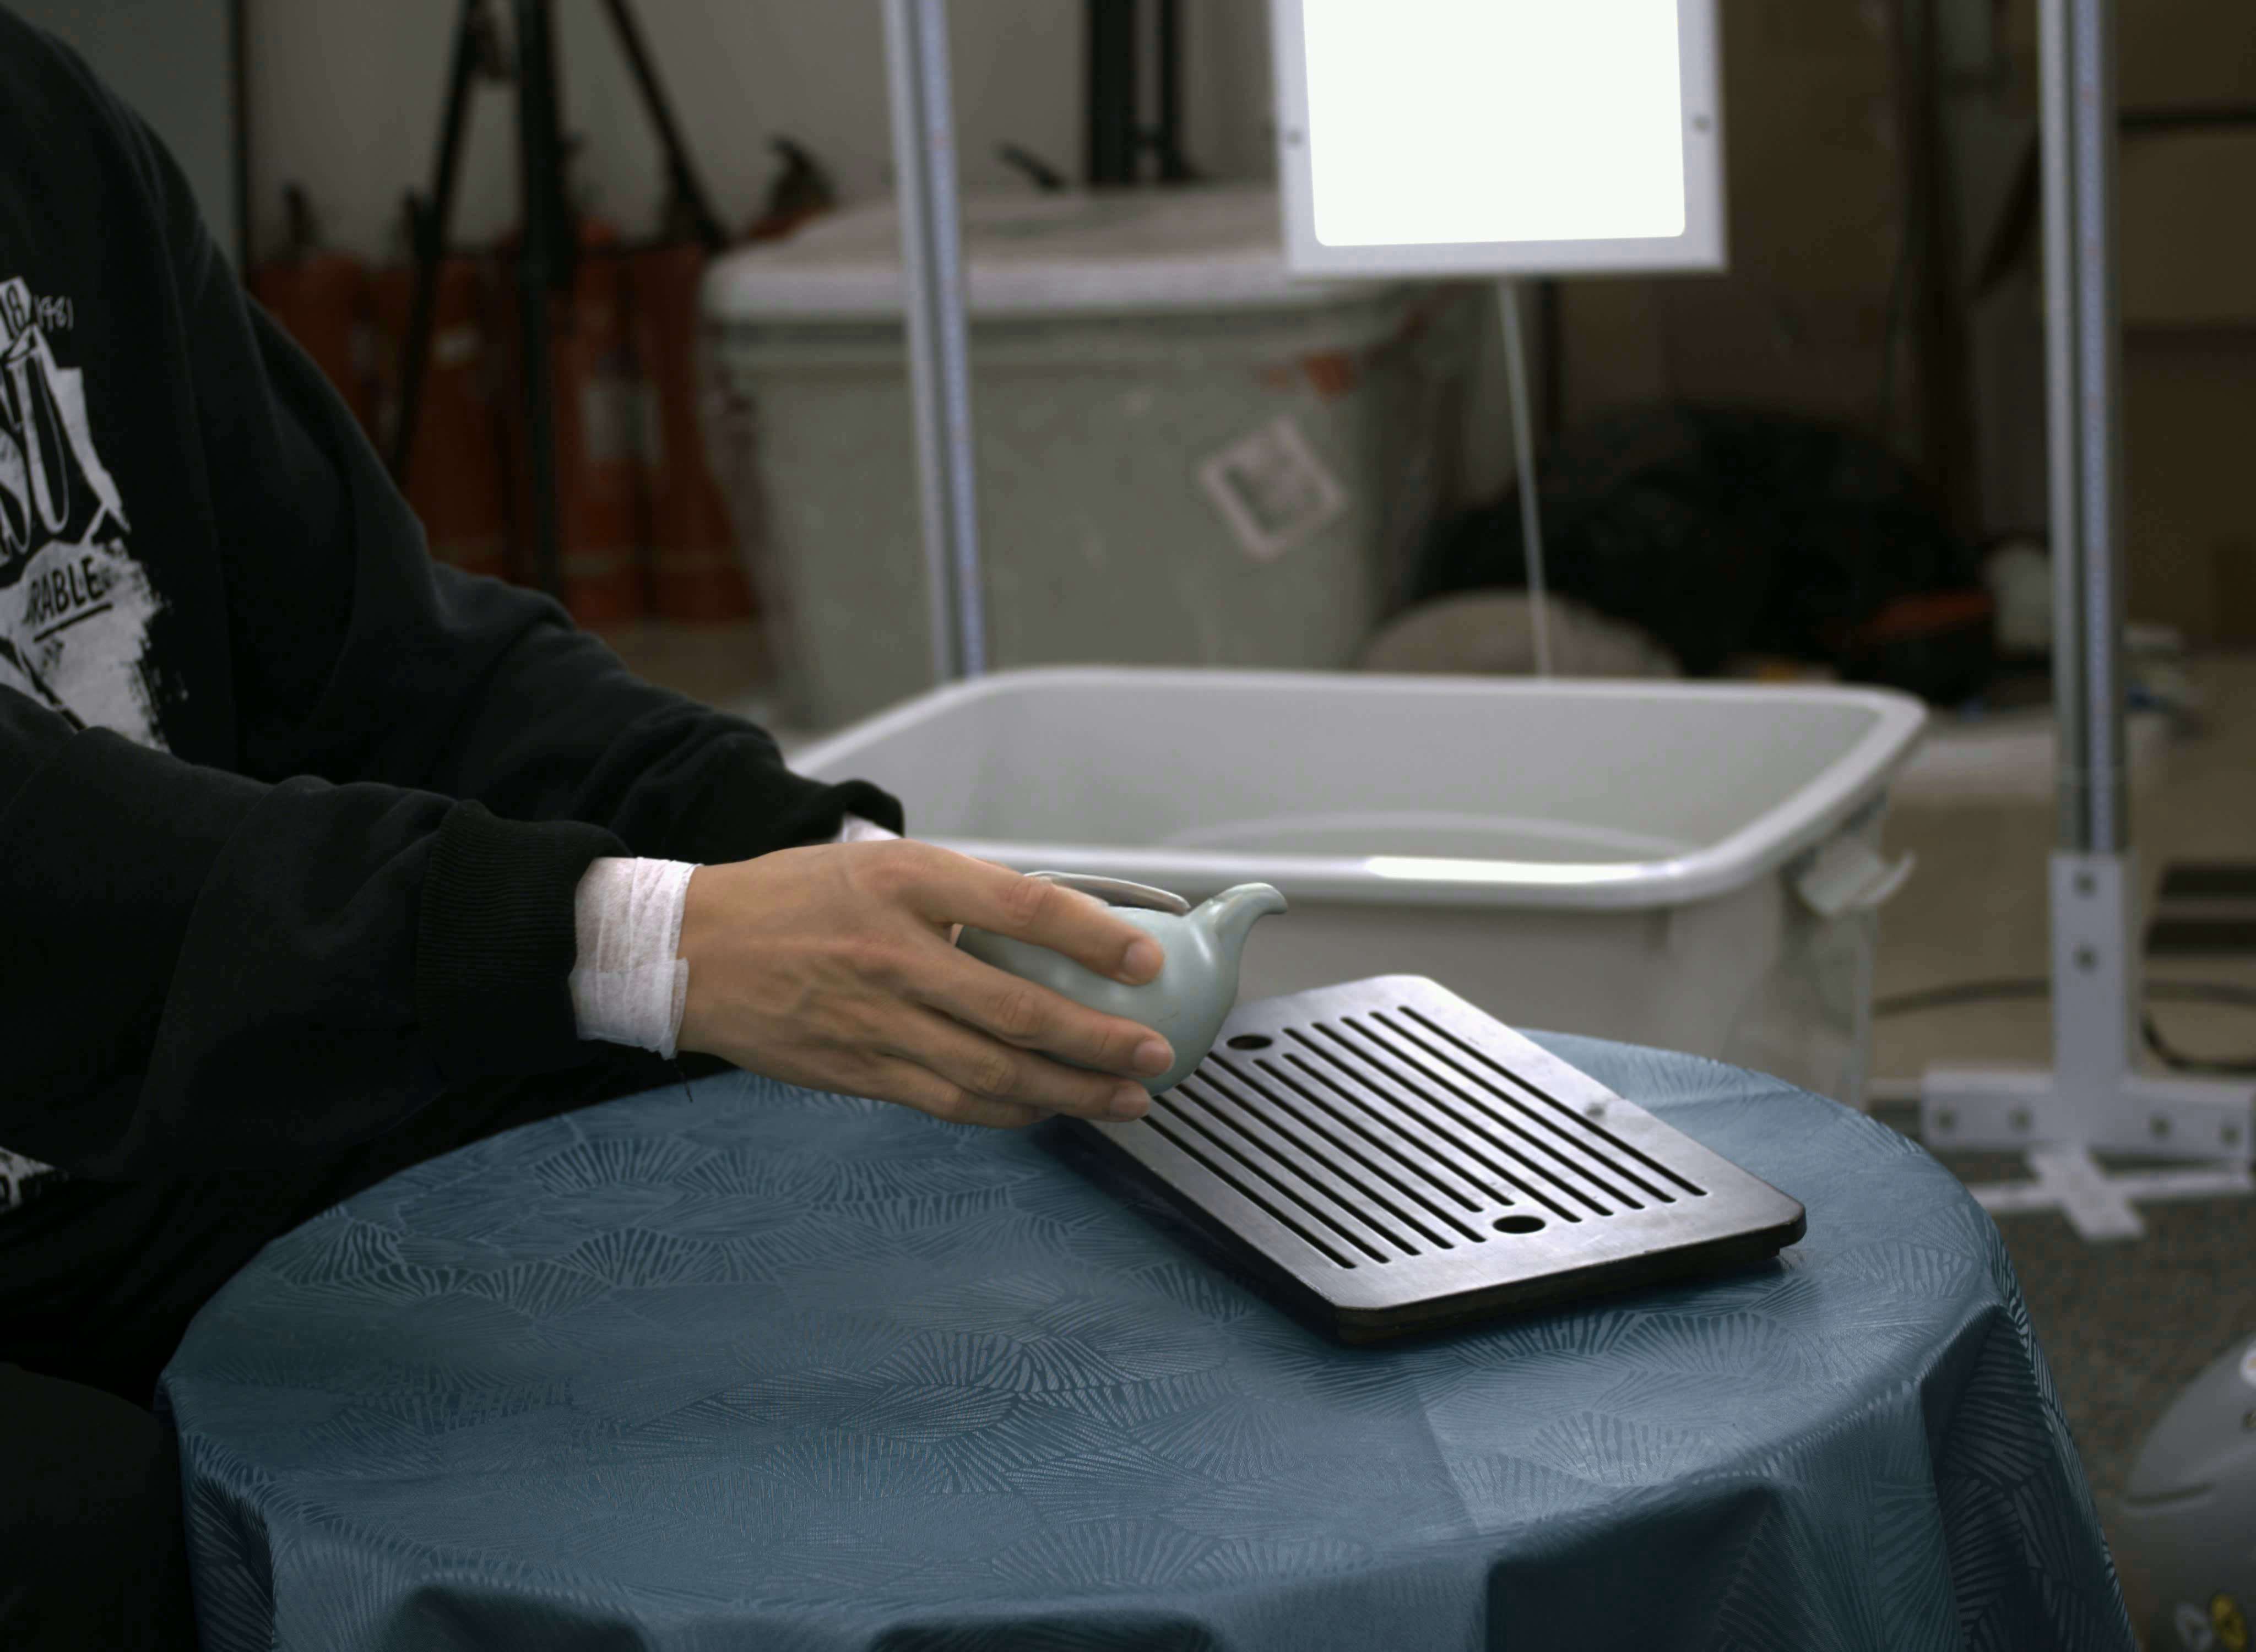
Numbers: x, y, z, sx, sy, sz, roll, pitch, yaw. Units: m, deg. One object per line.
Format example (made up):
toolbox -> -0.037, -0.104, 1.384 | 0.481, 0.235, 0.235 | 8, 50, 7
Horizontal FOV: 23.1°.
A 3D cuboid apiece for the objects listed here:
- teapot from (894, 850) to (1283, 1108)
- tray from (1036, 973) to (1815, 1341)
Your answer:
teapot -> -0.014, 0.049, 1.740 | 0.140, 0.075, 0.090 | 6, 8, -32
tray -> 0.091, 0.109, 1.873 | 0.167, 0.019, 0.310 | -10, 17, -20
